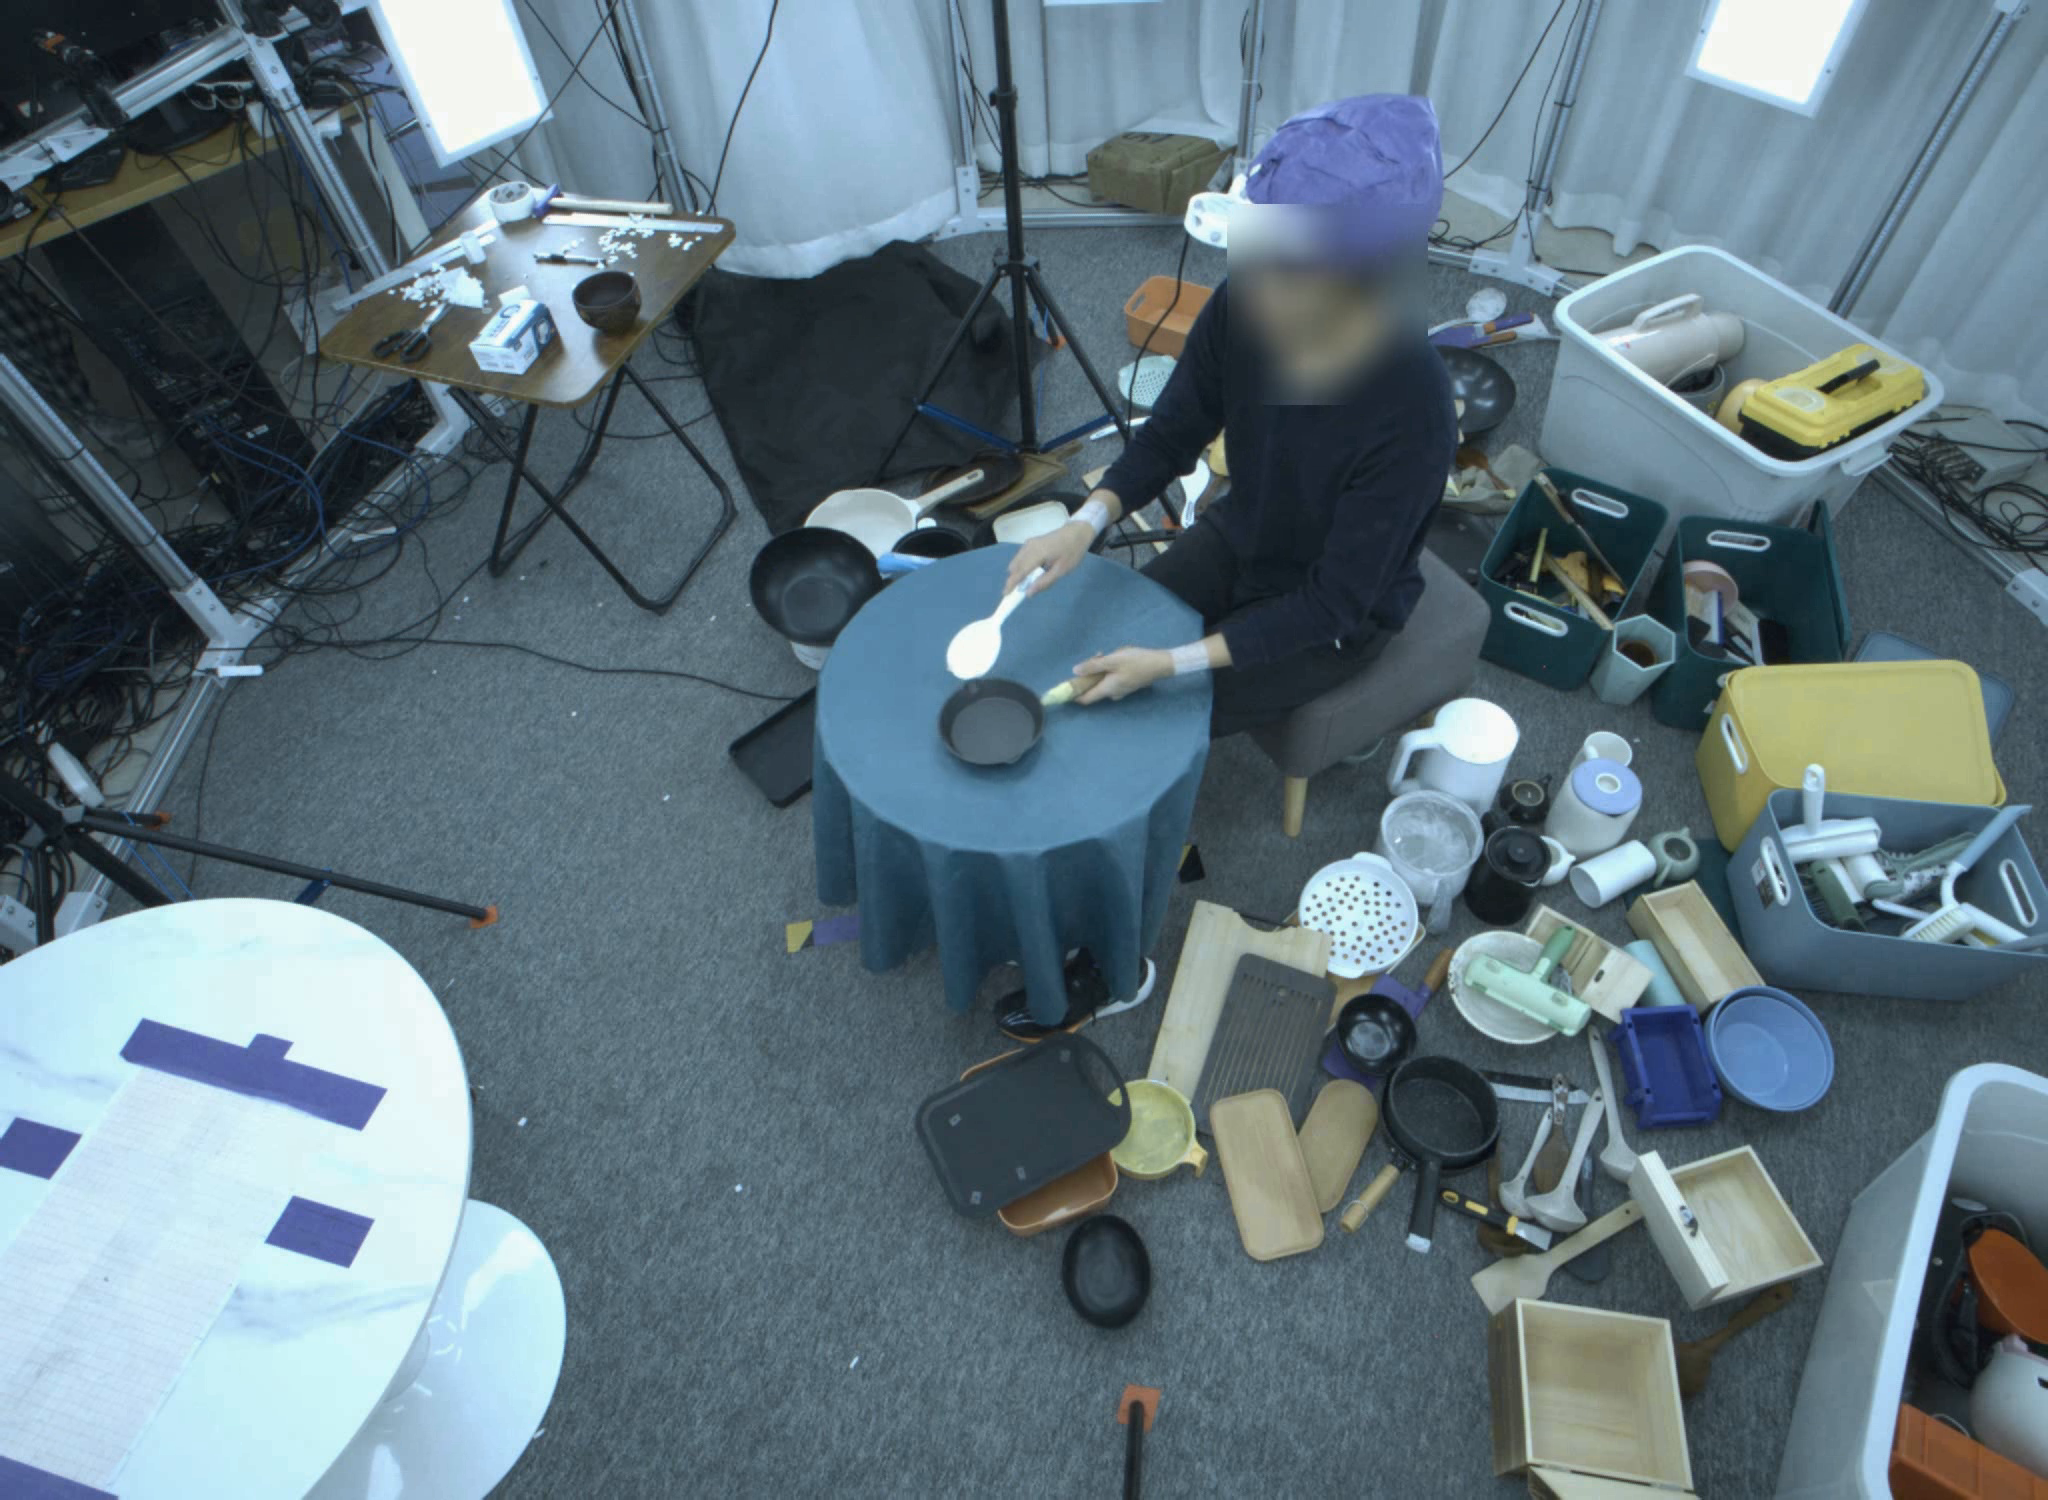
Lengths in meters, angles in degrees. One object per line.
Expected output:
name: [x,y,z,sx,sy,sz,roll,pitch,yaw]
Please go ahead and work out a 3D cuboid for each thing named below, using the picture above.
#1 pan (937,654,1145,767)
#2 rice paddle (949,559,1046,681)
pan: [0.030,-0.070,1.802,0.326,0.050,0.166,-21,57,-9]
rice paddle: [-0.039,-0.190,1.815,0.069,0.029,0.205,35,94,-11]
